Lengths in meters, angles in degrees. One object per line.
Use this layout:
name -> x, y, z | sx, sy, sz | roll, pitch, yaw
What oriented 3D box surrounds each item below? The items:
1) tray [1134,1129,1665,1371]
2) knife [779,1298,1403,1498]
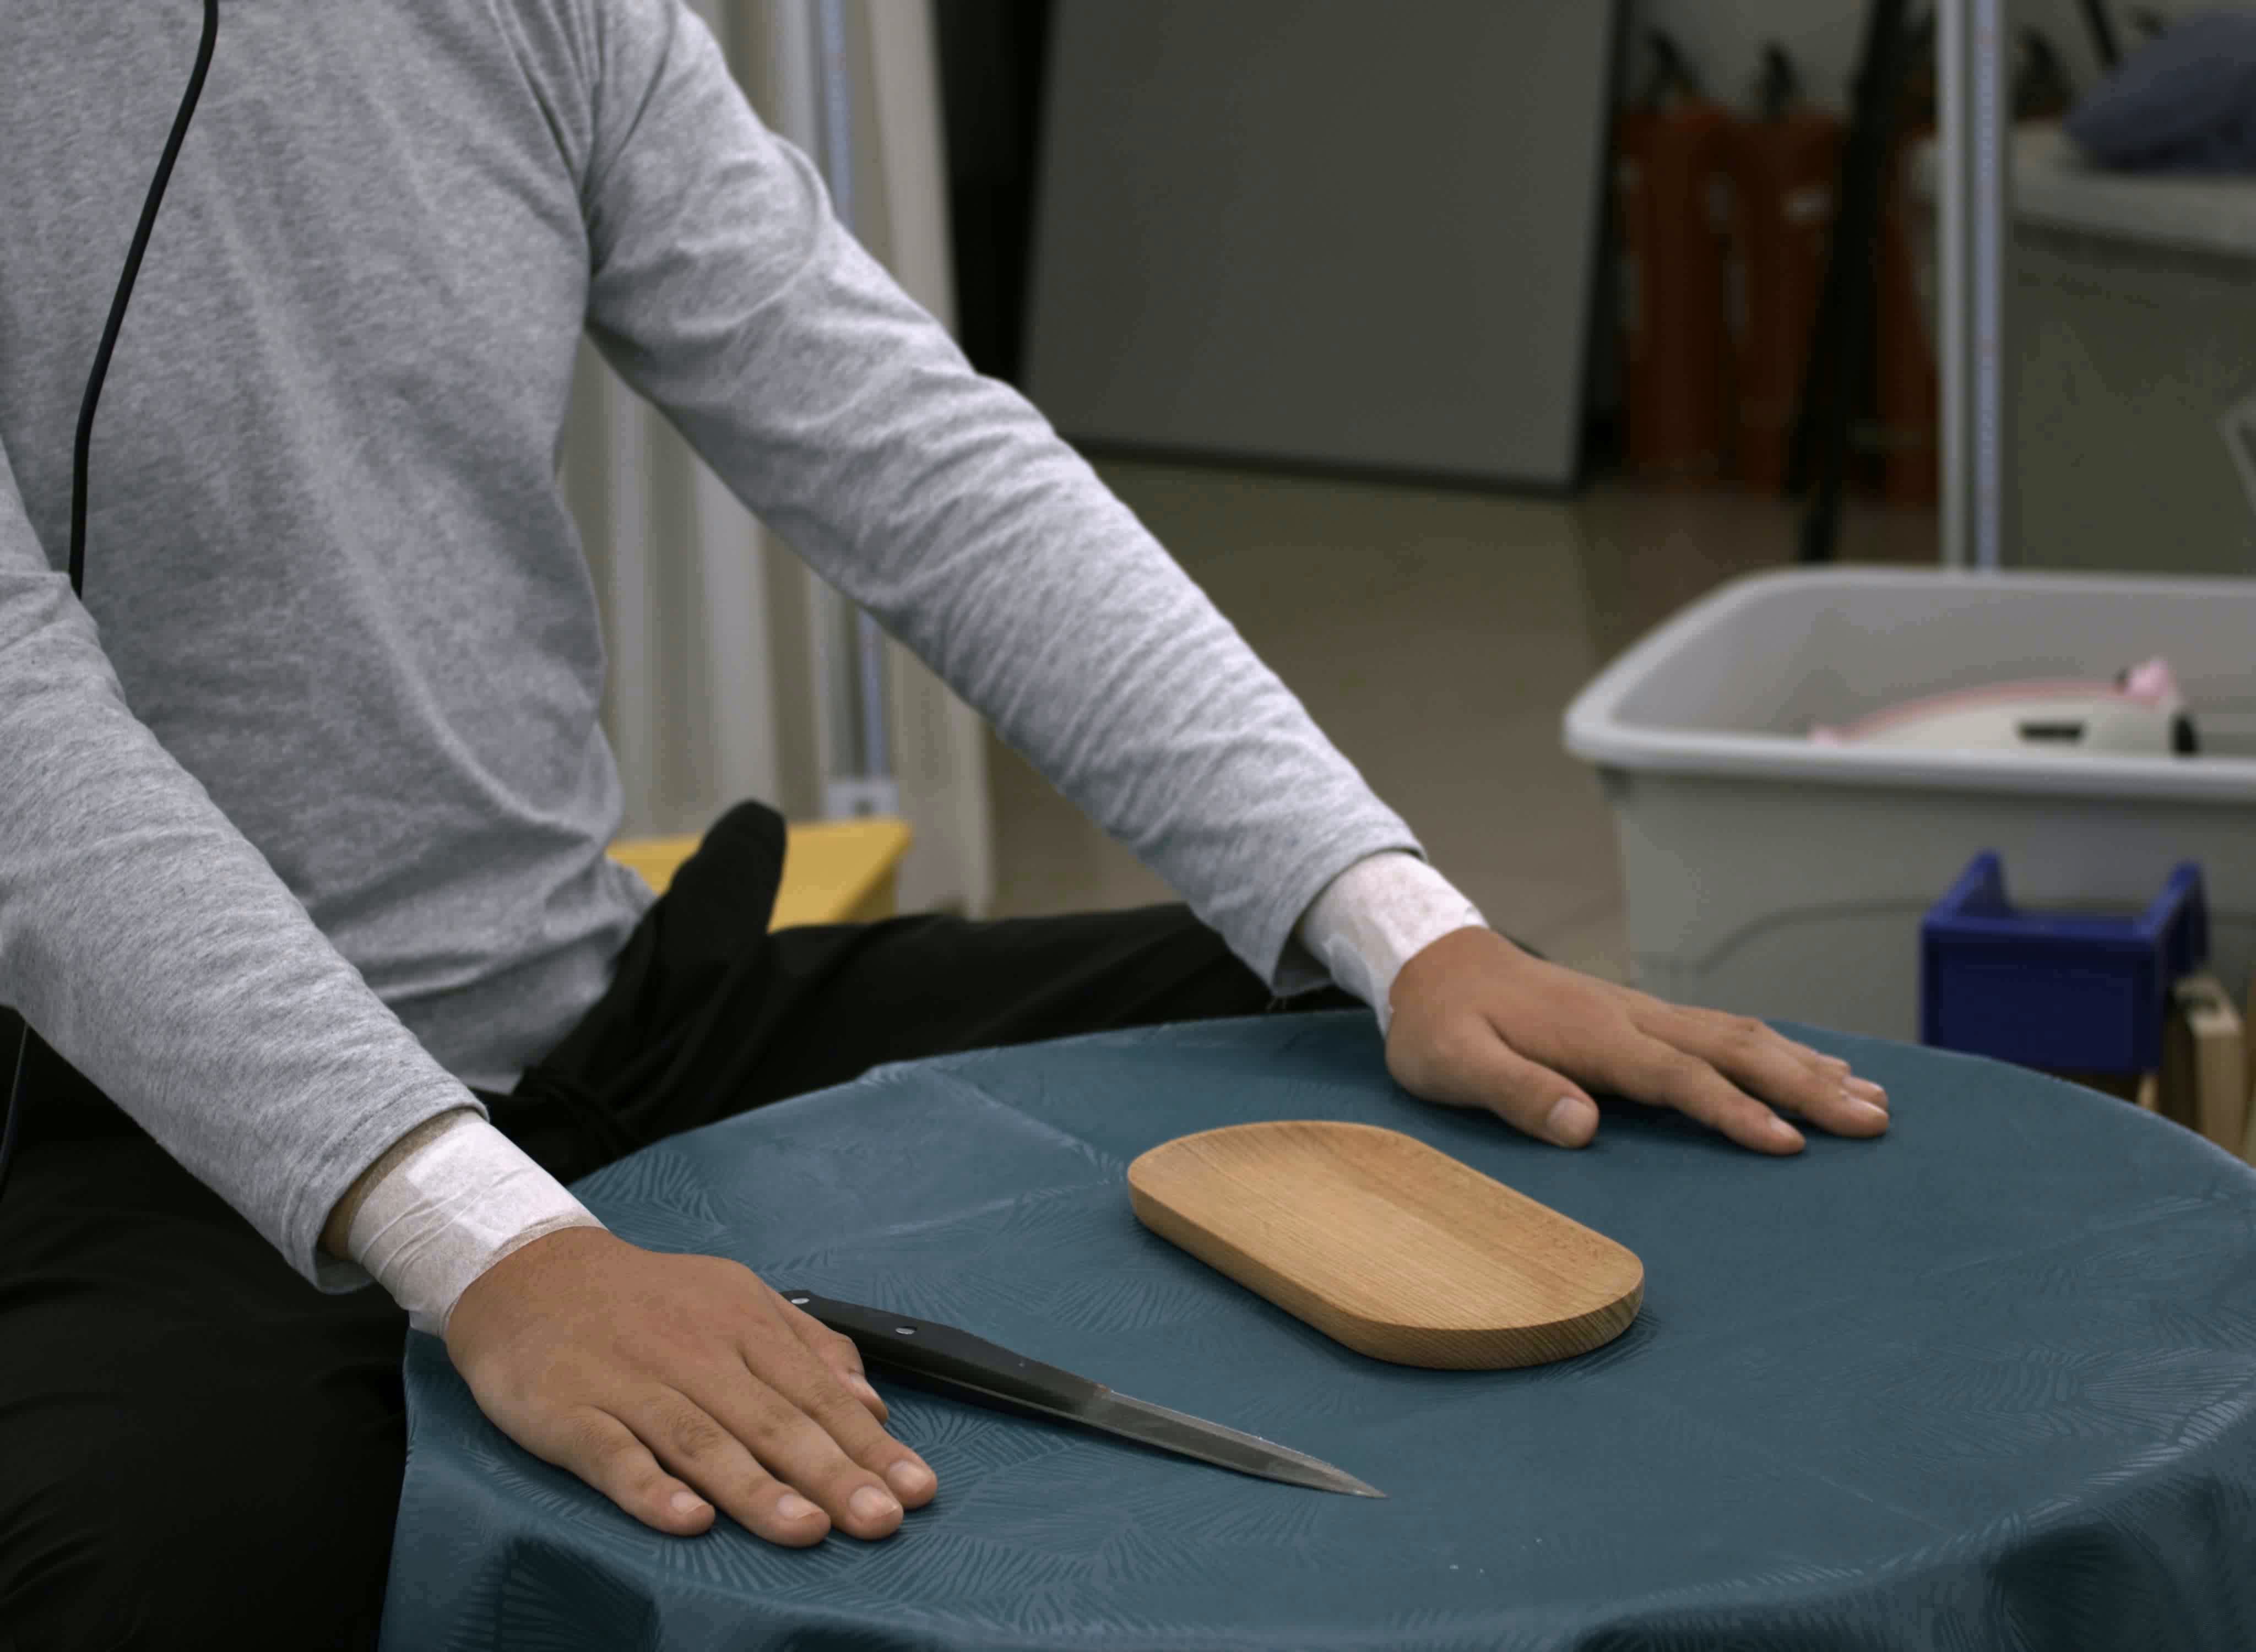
tray -> 0.082, 0.131, 1.681 | 0.099, 0.020, 0.233 | -12, 16, -25
knife -> -0.016, 0.168, 1.564 | 0.240, 0.016, 0.024 | 11, 18, 40
